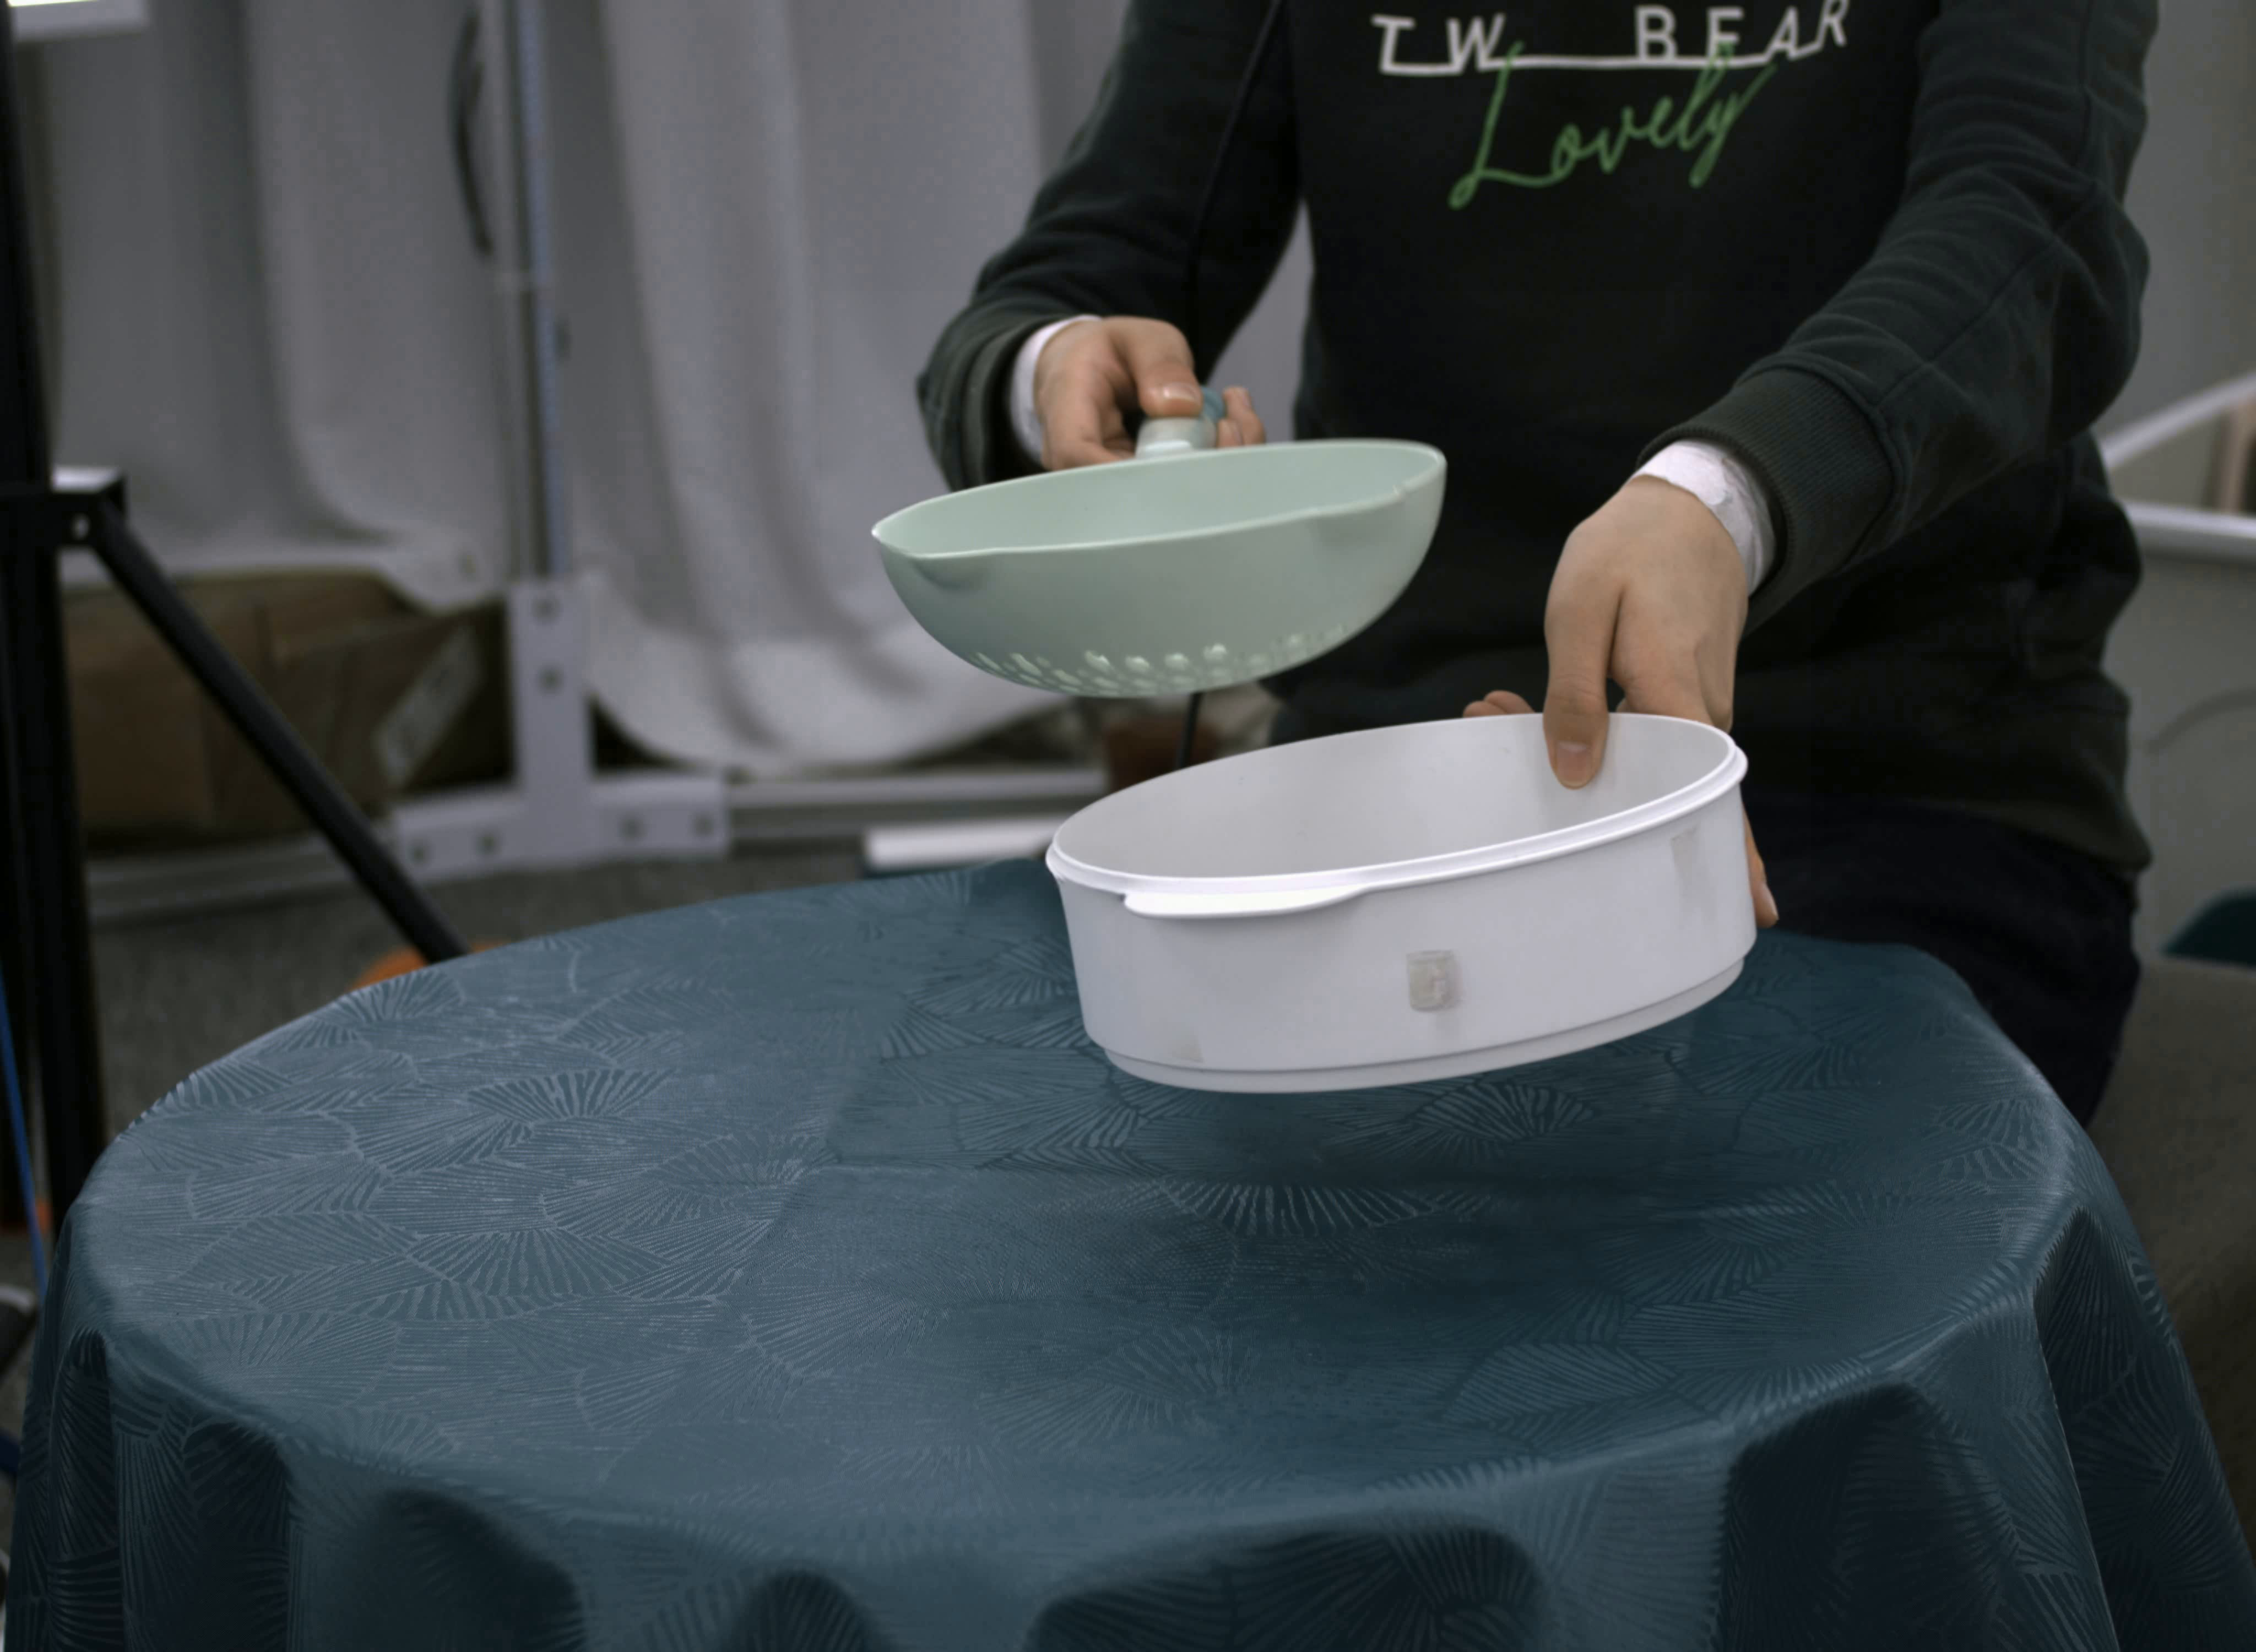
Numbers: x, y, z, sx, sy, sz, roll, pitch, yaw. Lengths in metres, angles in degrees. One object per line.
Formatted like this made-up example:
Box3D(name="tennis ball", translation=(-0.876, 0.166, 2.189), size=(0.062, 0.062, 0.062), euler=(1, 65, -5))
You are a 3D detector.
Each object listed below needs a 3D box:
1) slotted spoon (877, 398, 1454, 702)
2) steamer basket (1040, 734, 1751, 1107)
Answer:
Box3D(name="slotted spoon", translation=(0.015, -0.101, 1.642), size=(0.169, 0.075, 0.360), euler=(-5, 18, 3))
Box3D(name="steamer basket", translation=(0.078, 0.027, 1.503), size=(0.205, 0.069, 0.226), euler=(0, 13, 29))
